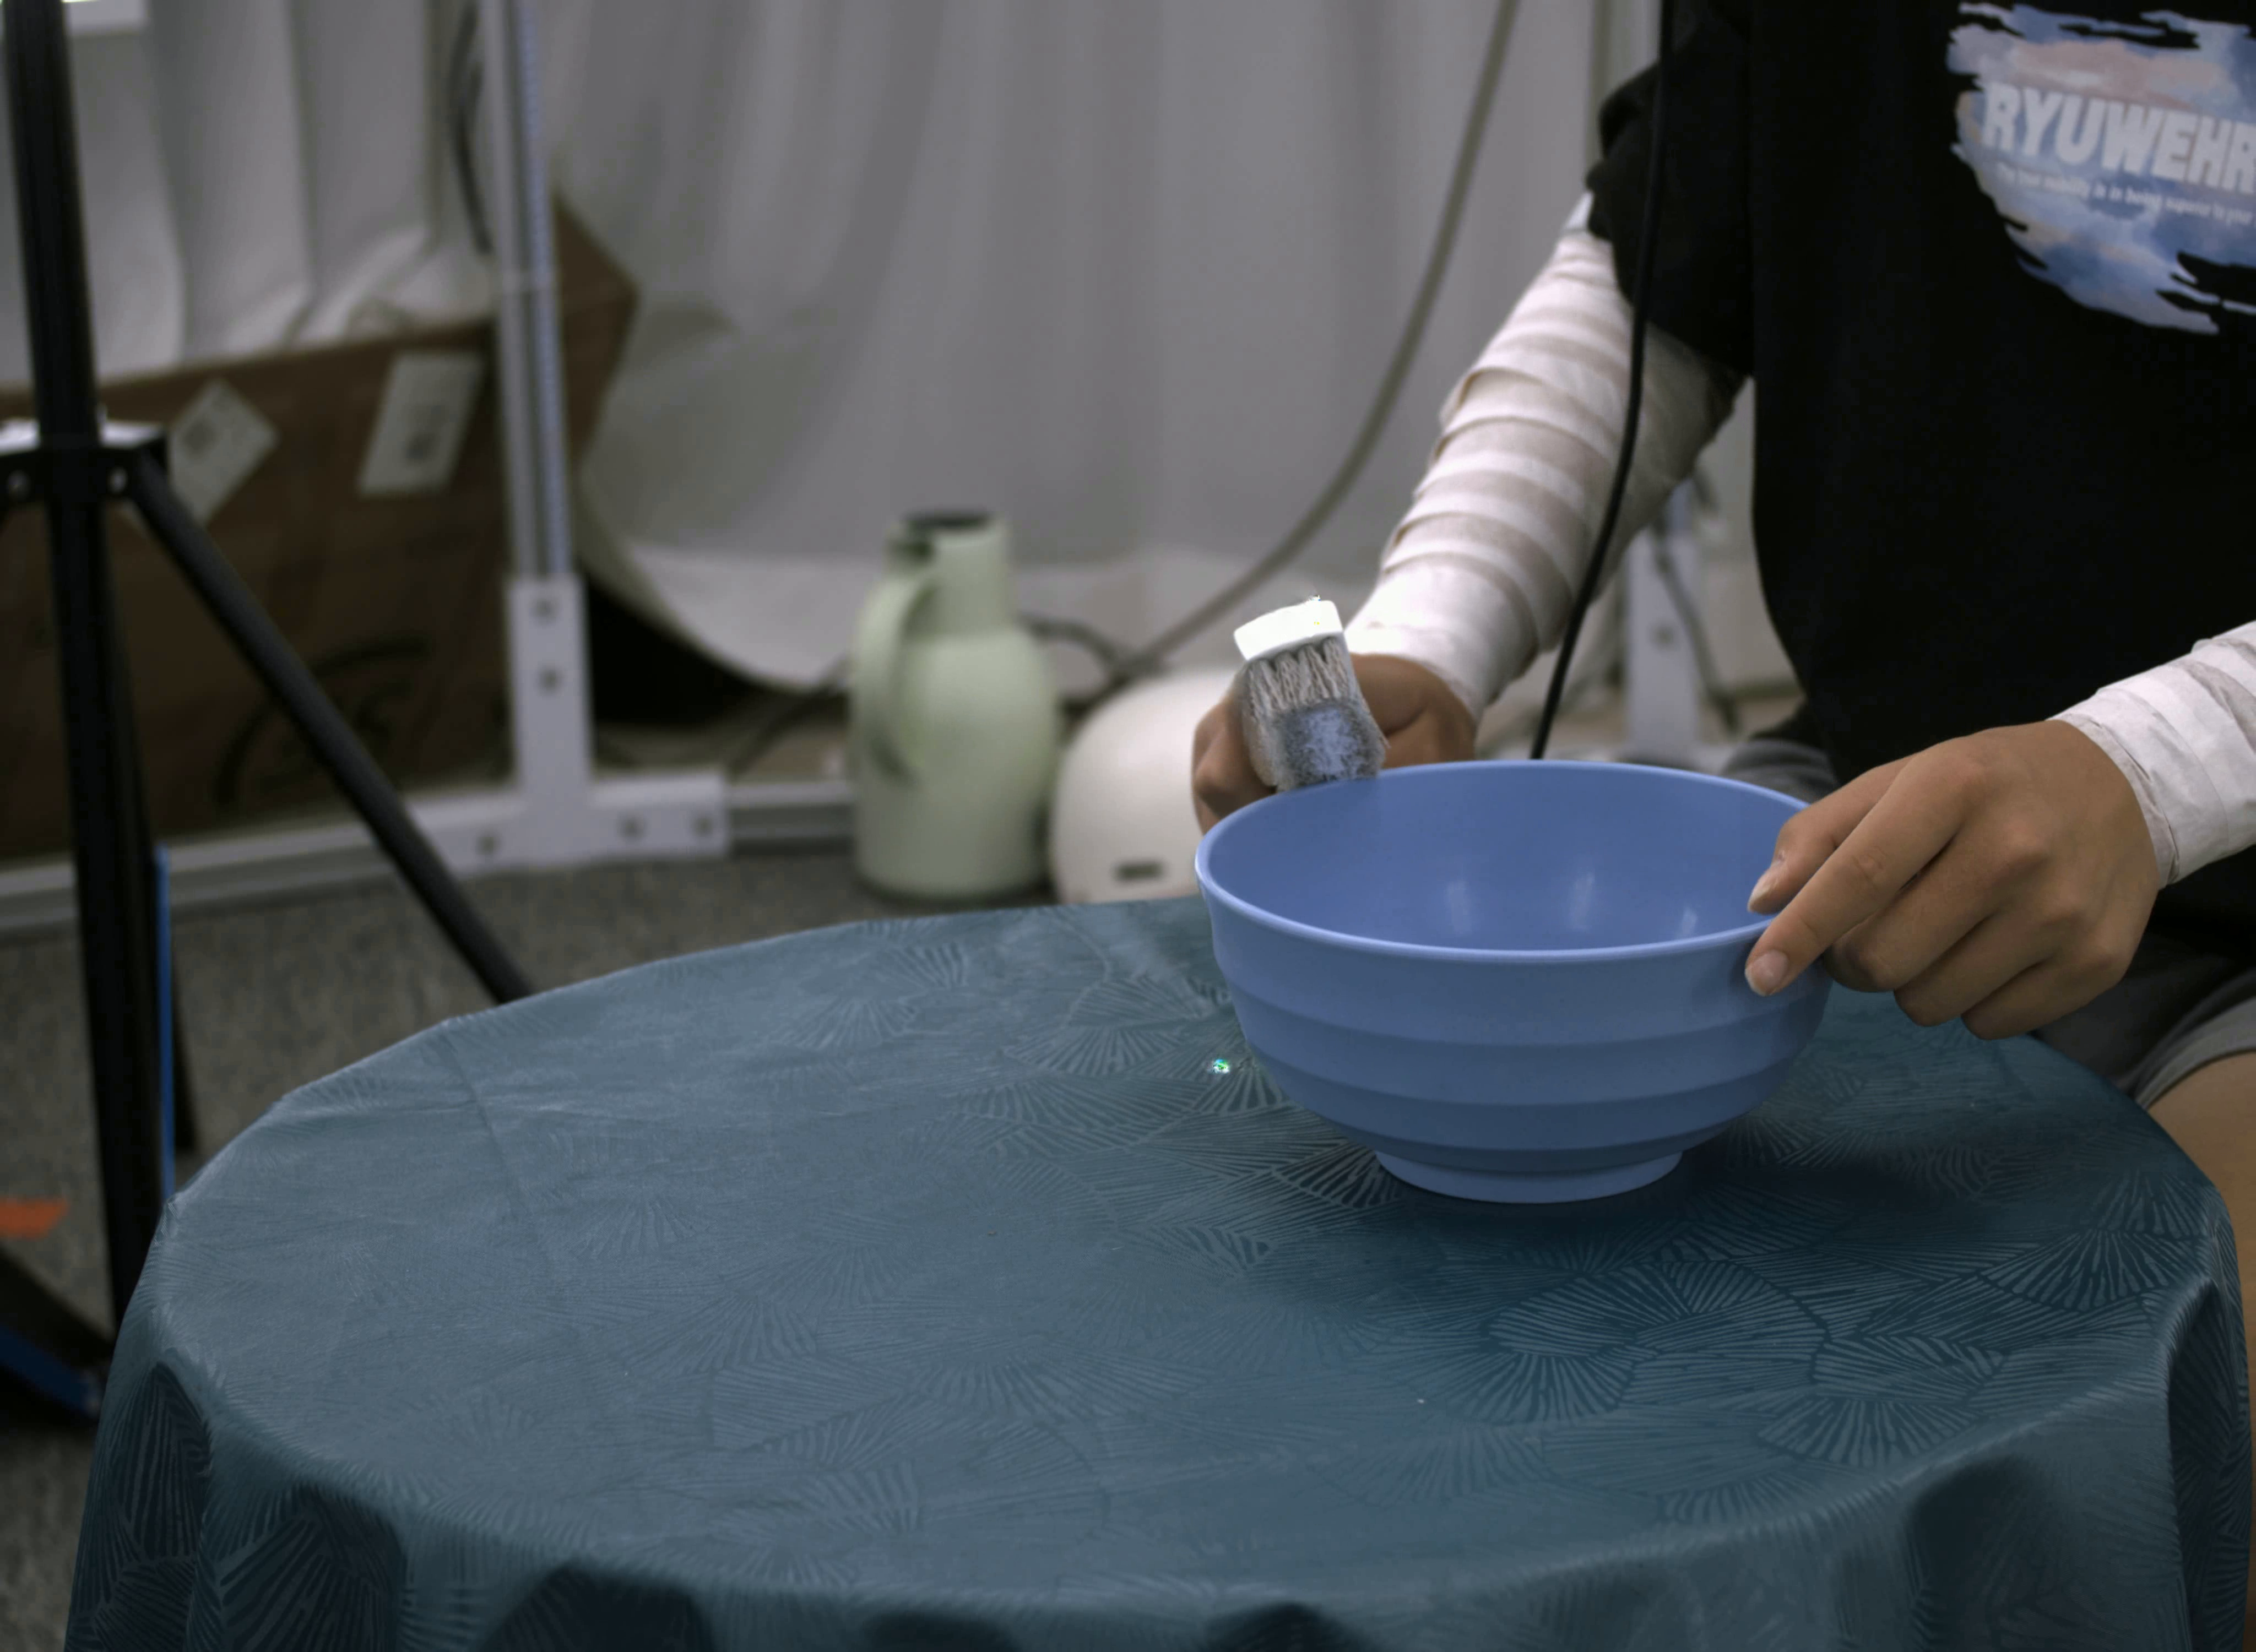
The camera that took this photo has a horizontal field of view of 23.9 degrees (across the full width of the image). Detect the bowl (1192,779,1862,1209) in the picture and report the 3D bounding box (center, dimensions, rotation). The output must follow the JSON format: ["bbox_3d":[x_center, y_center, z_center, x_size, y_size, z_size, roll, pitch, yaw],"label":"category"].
[{"bbox_3d":[0.117,0.054,1.563,0.195,0.095,0.197,-2,14,-1],"label":"bowl"}]

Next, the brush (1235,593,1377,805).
[{"bbox_3d":[0.057,-0.020,1.703,0.034,0.051,0.242,-17,-13,-3],"label":"brush"}]
